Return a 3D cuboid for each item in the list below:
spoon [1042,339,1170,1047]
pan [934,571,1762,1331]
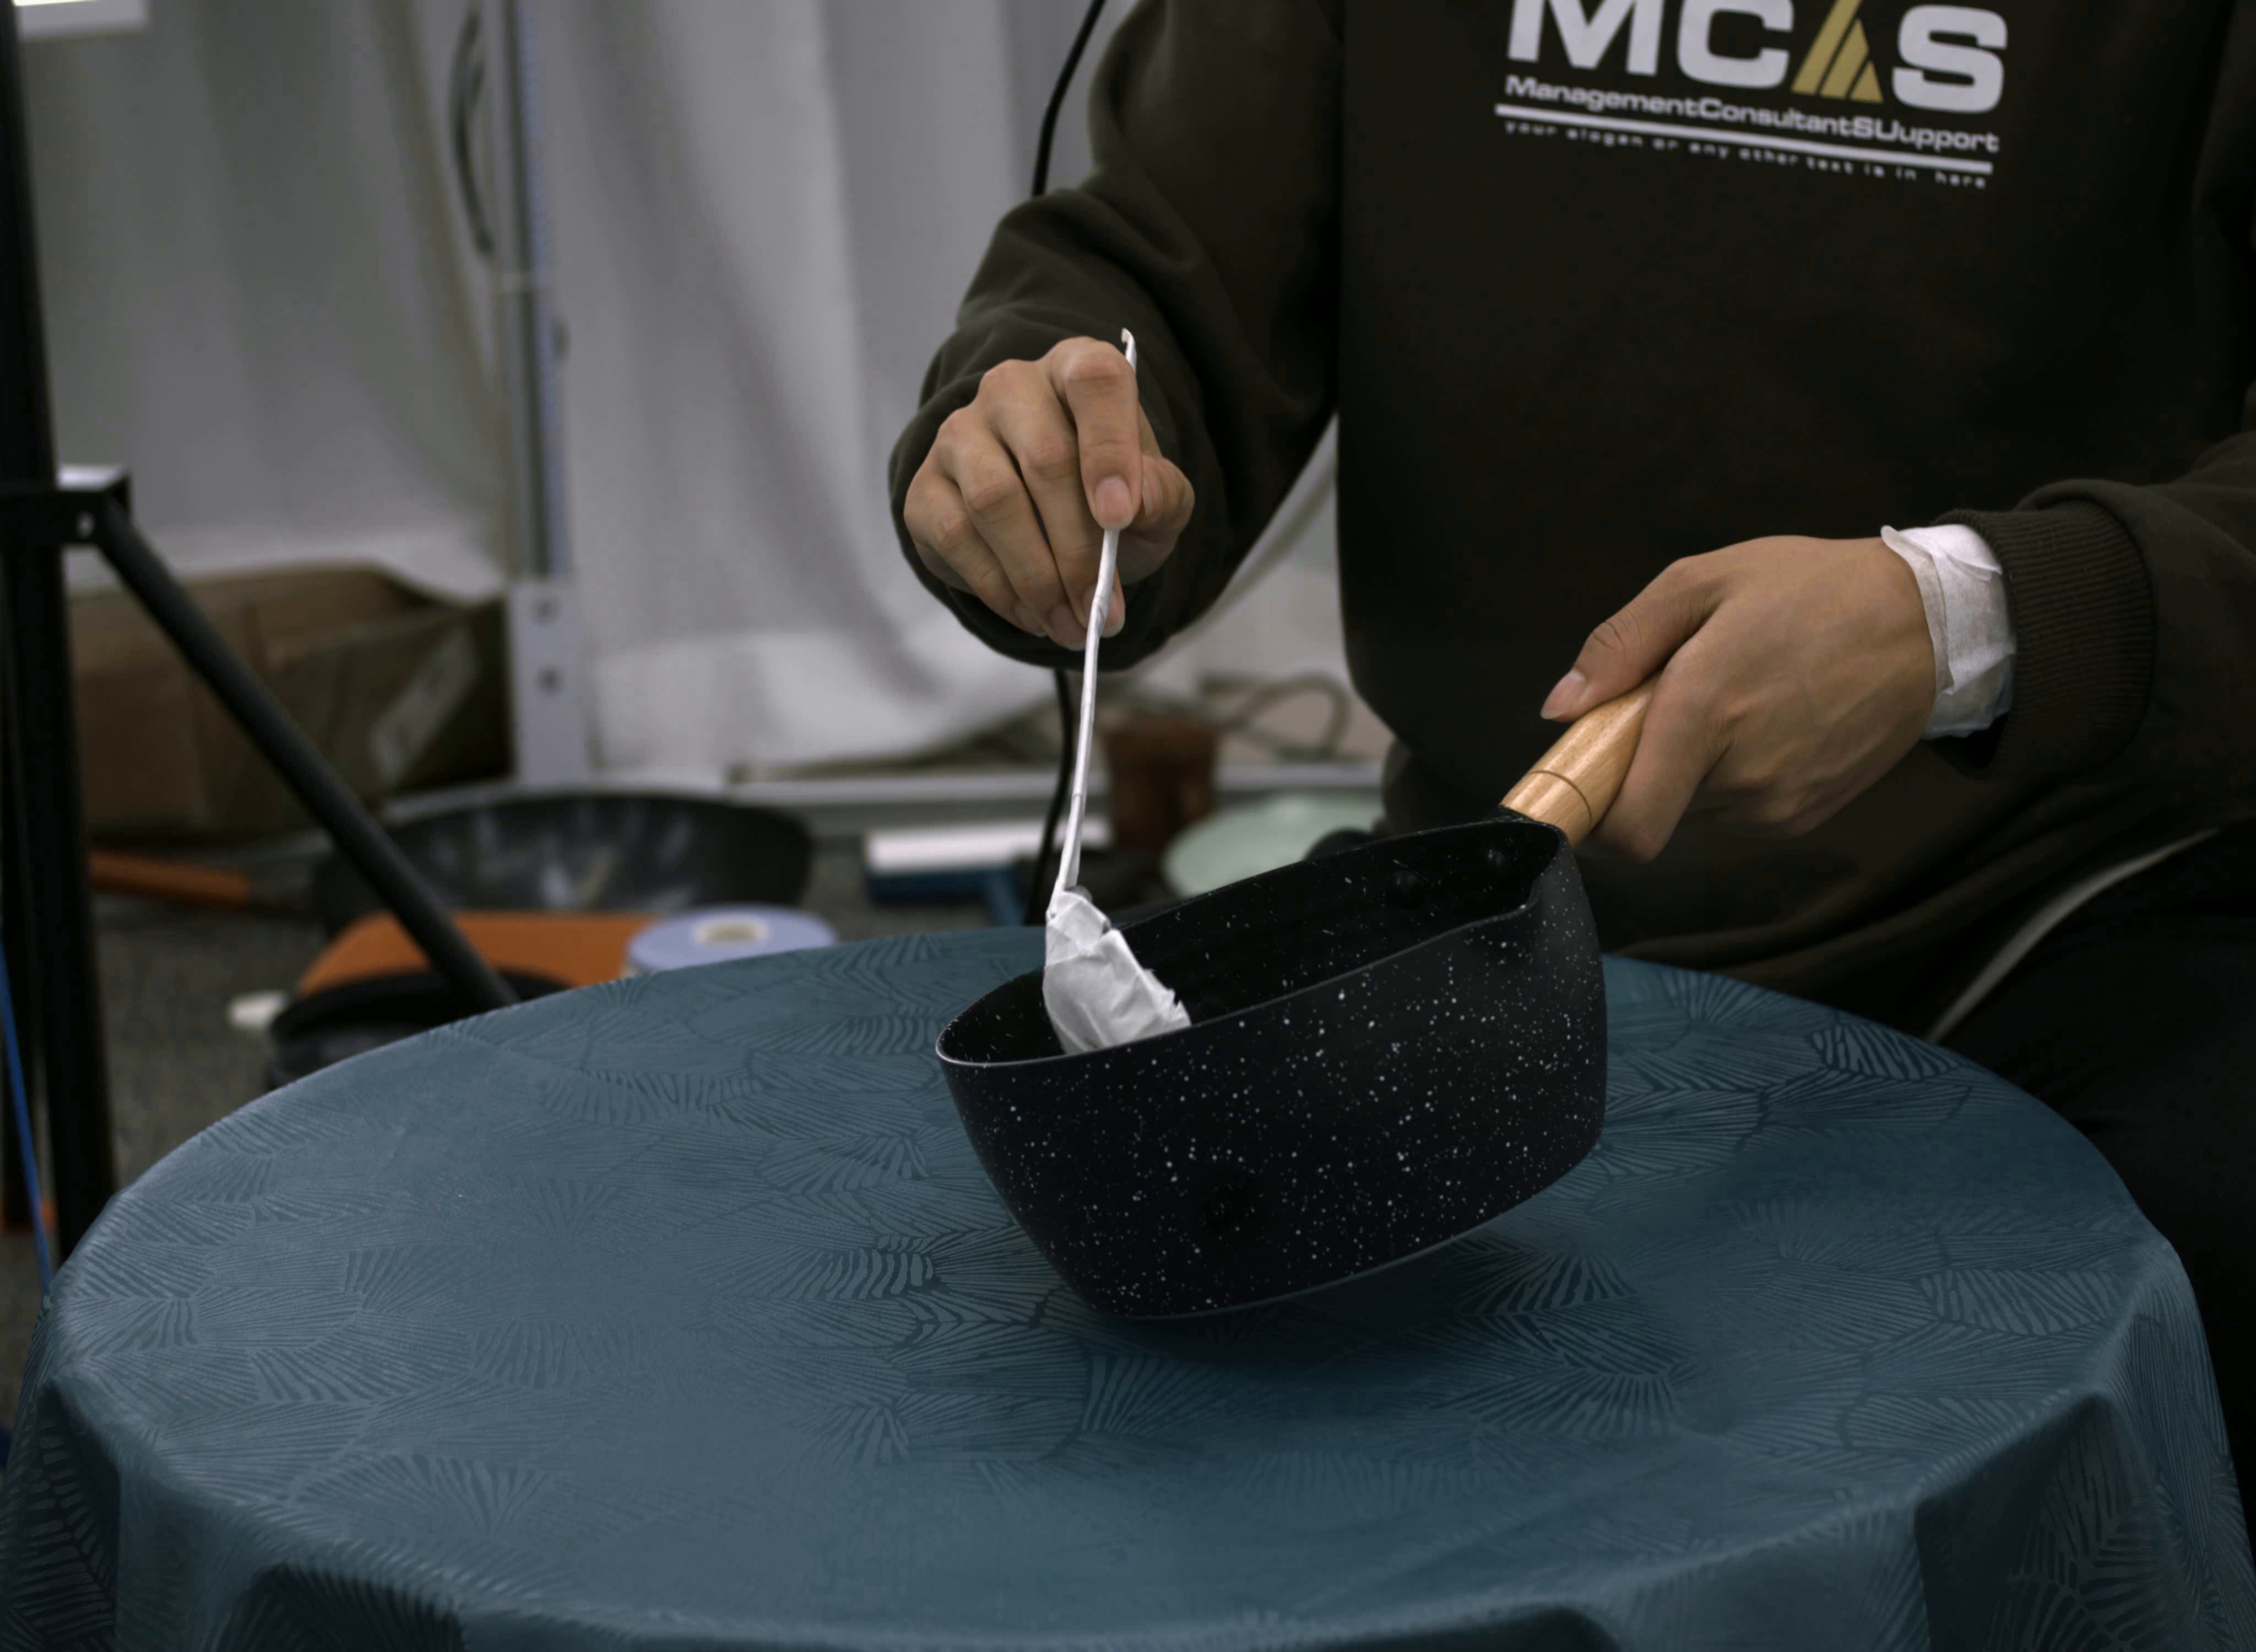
[{"bbox_3d":[0.013,-0.024,1.508,0.059,0.100,0.279,4,56,6],"label":"spoon"},{"bbox_3d":[0.092,0.033,1.518,0.211,0.108,0.336,-12,13,45],"label":"pan"}]
